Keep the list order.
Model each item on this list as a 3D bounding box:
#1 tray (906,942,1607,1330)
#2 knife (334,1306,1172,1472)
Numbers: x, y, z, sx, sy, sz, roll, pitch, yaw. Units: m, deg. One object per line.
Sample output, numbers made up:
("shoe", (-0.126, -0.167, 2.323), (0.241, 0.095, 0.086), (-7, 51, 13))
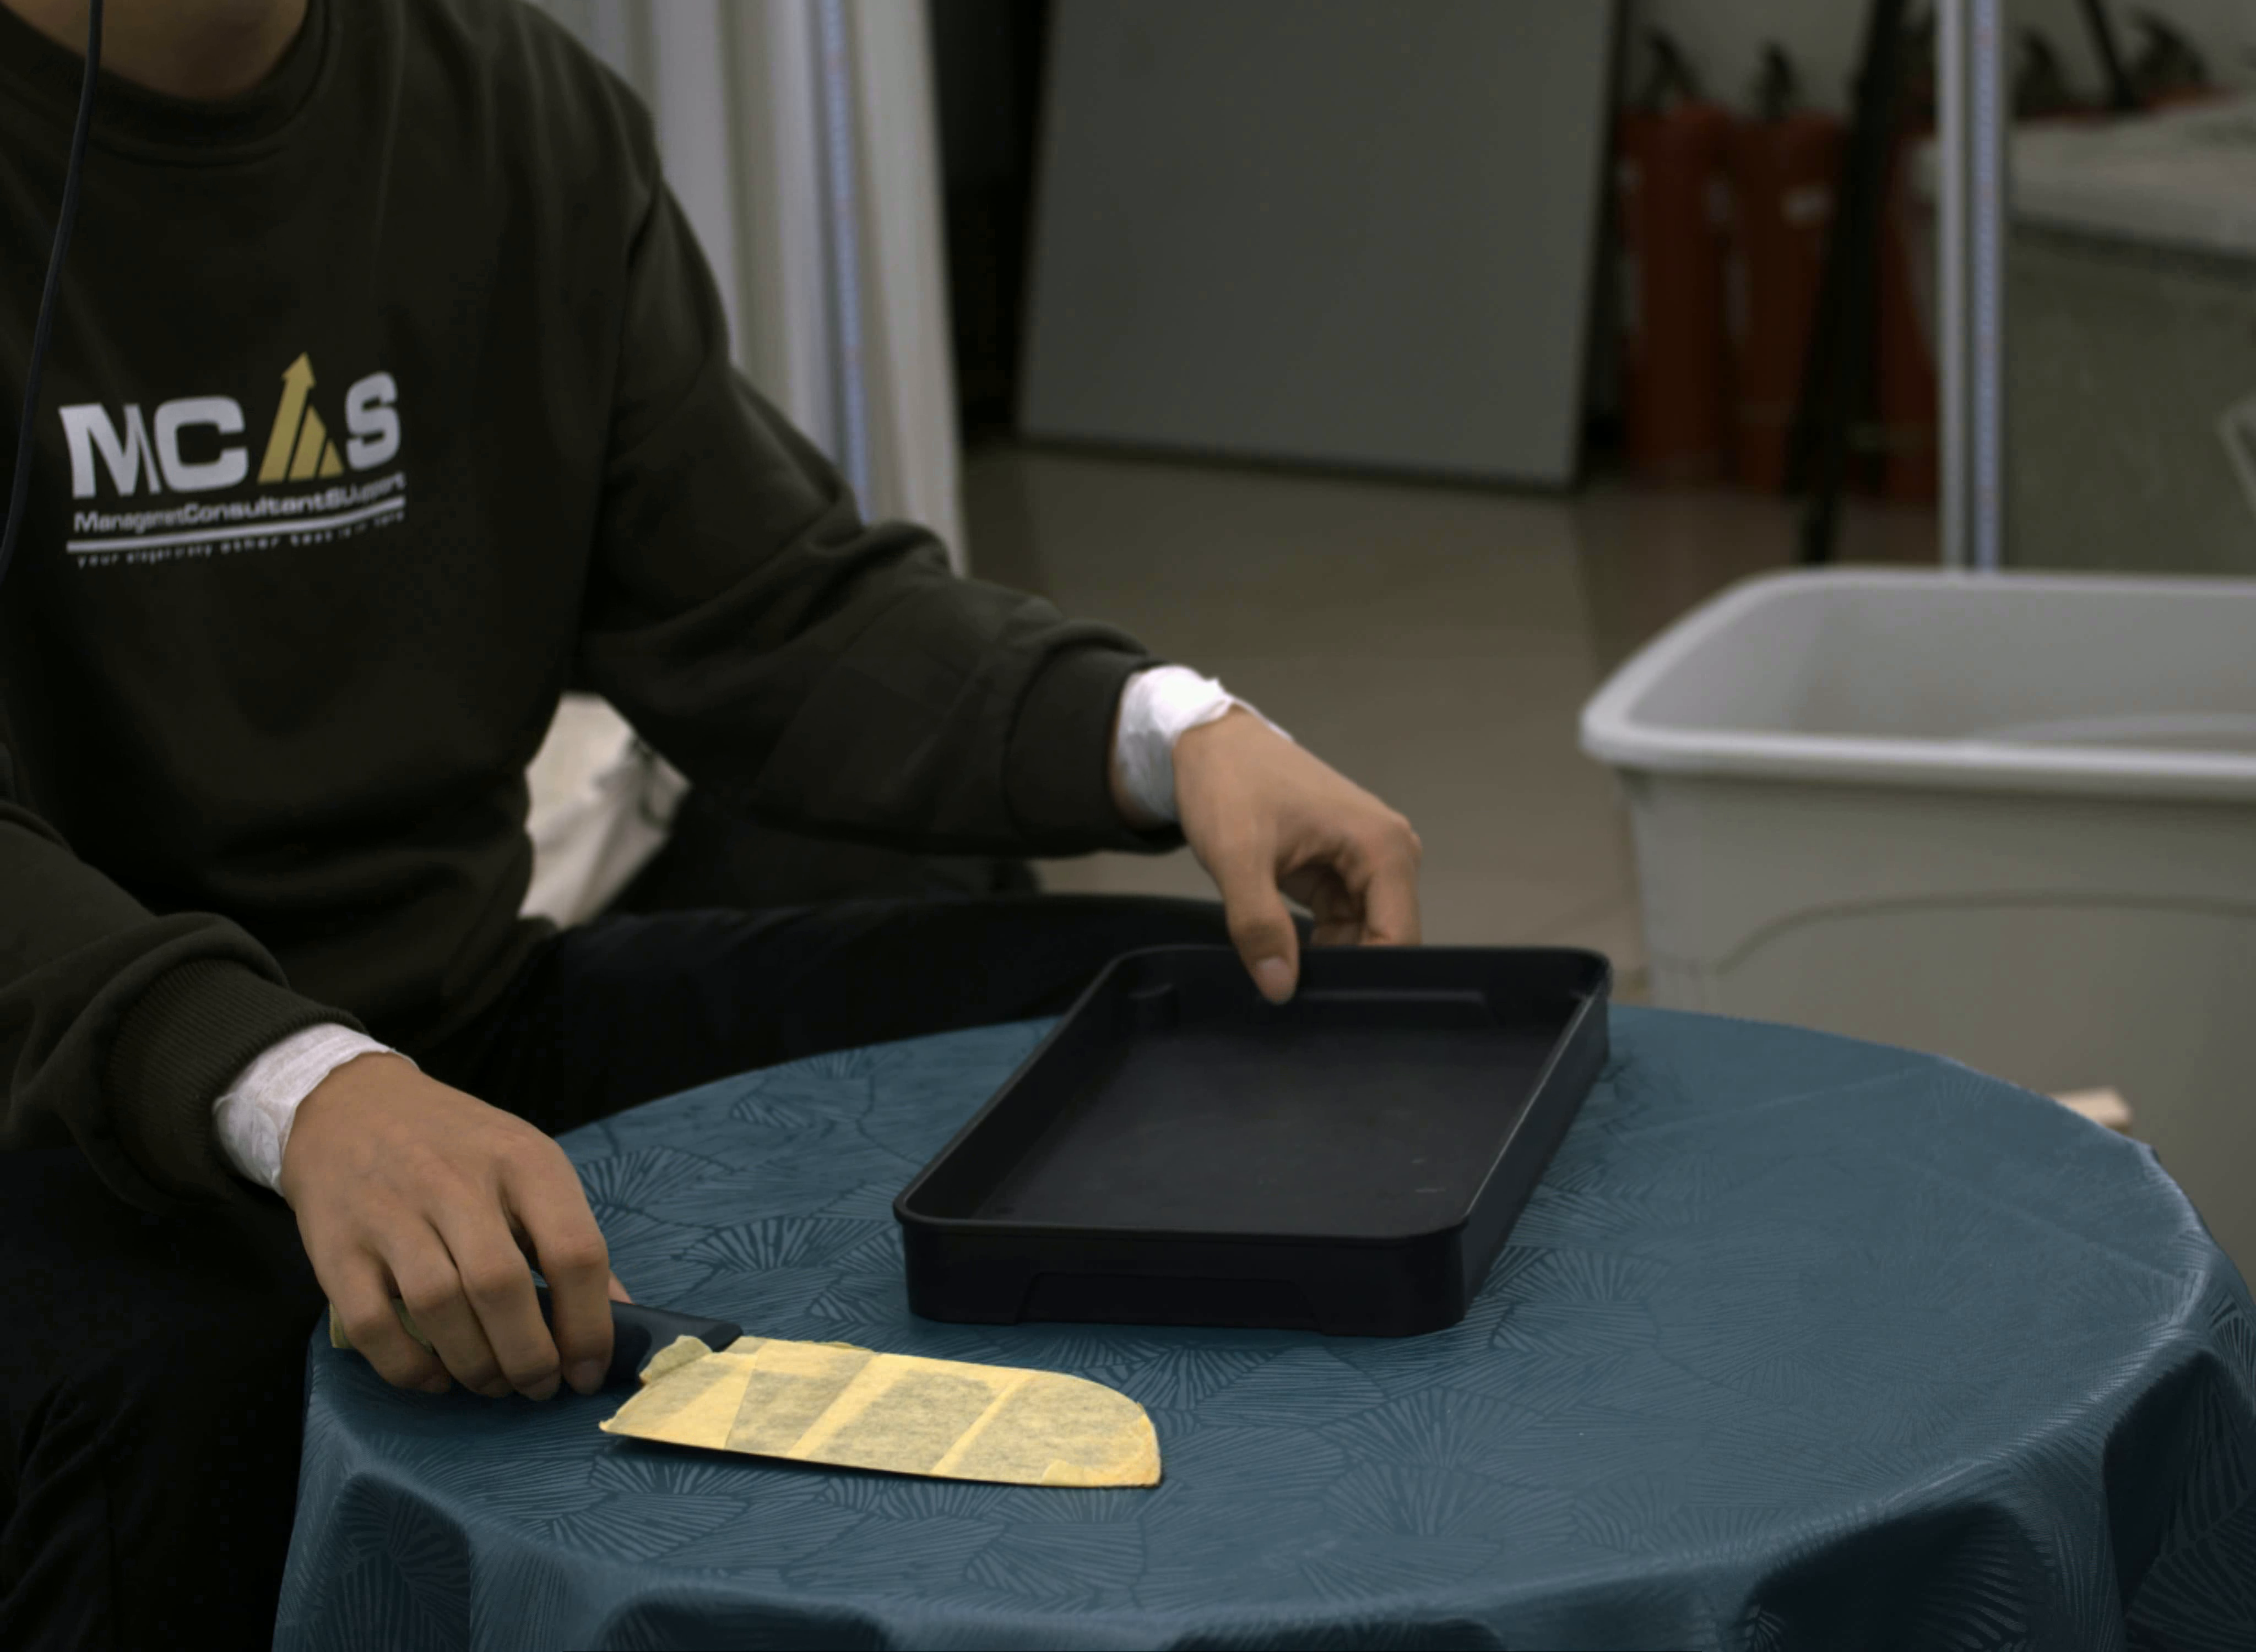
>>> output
("tray", (0.051, 0.098, 1.781), (0.183, 0.037, 0.316), (-2, 14, 14))
("knife", (-0.117, 0.168, 1.588), (0.290, 0.027, 0.080), (3, 17, 27))
